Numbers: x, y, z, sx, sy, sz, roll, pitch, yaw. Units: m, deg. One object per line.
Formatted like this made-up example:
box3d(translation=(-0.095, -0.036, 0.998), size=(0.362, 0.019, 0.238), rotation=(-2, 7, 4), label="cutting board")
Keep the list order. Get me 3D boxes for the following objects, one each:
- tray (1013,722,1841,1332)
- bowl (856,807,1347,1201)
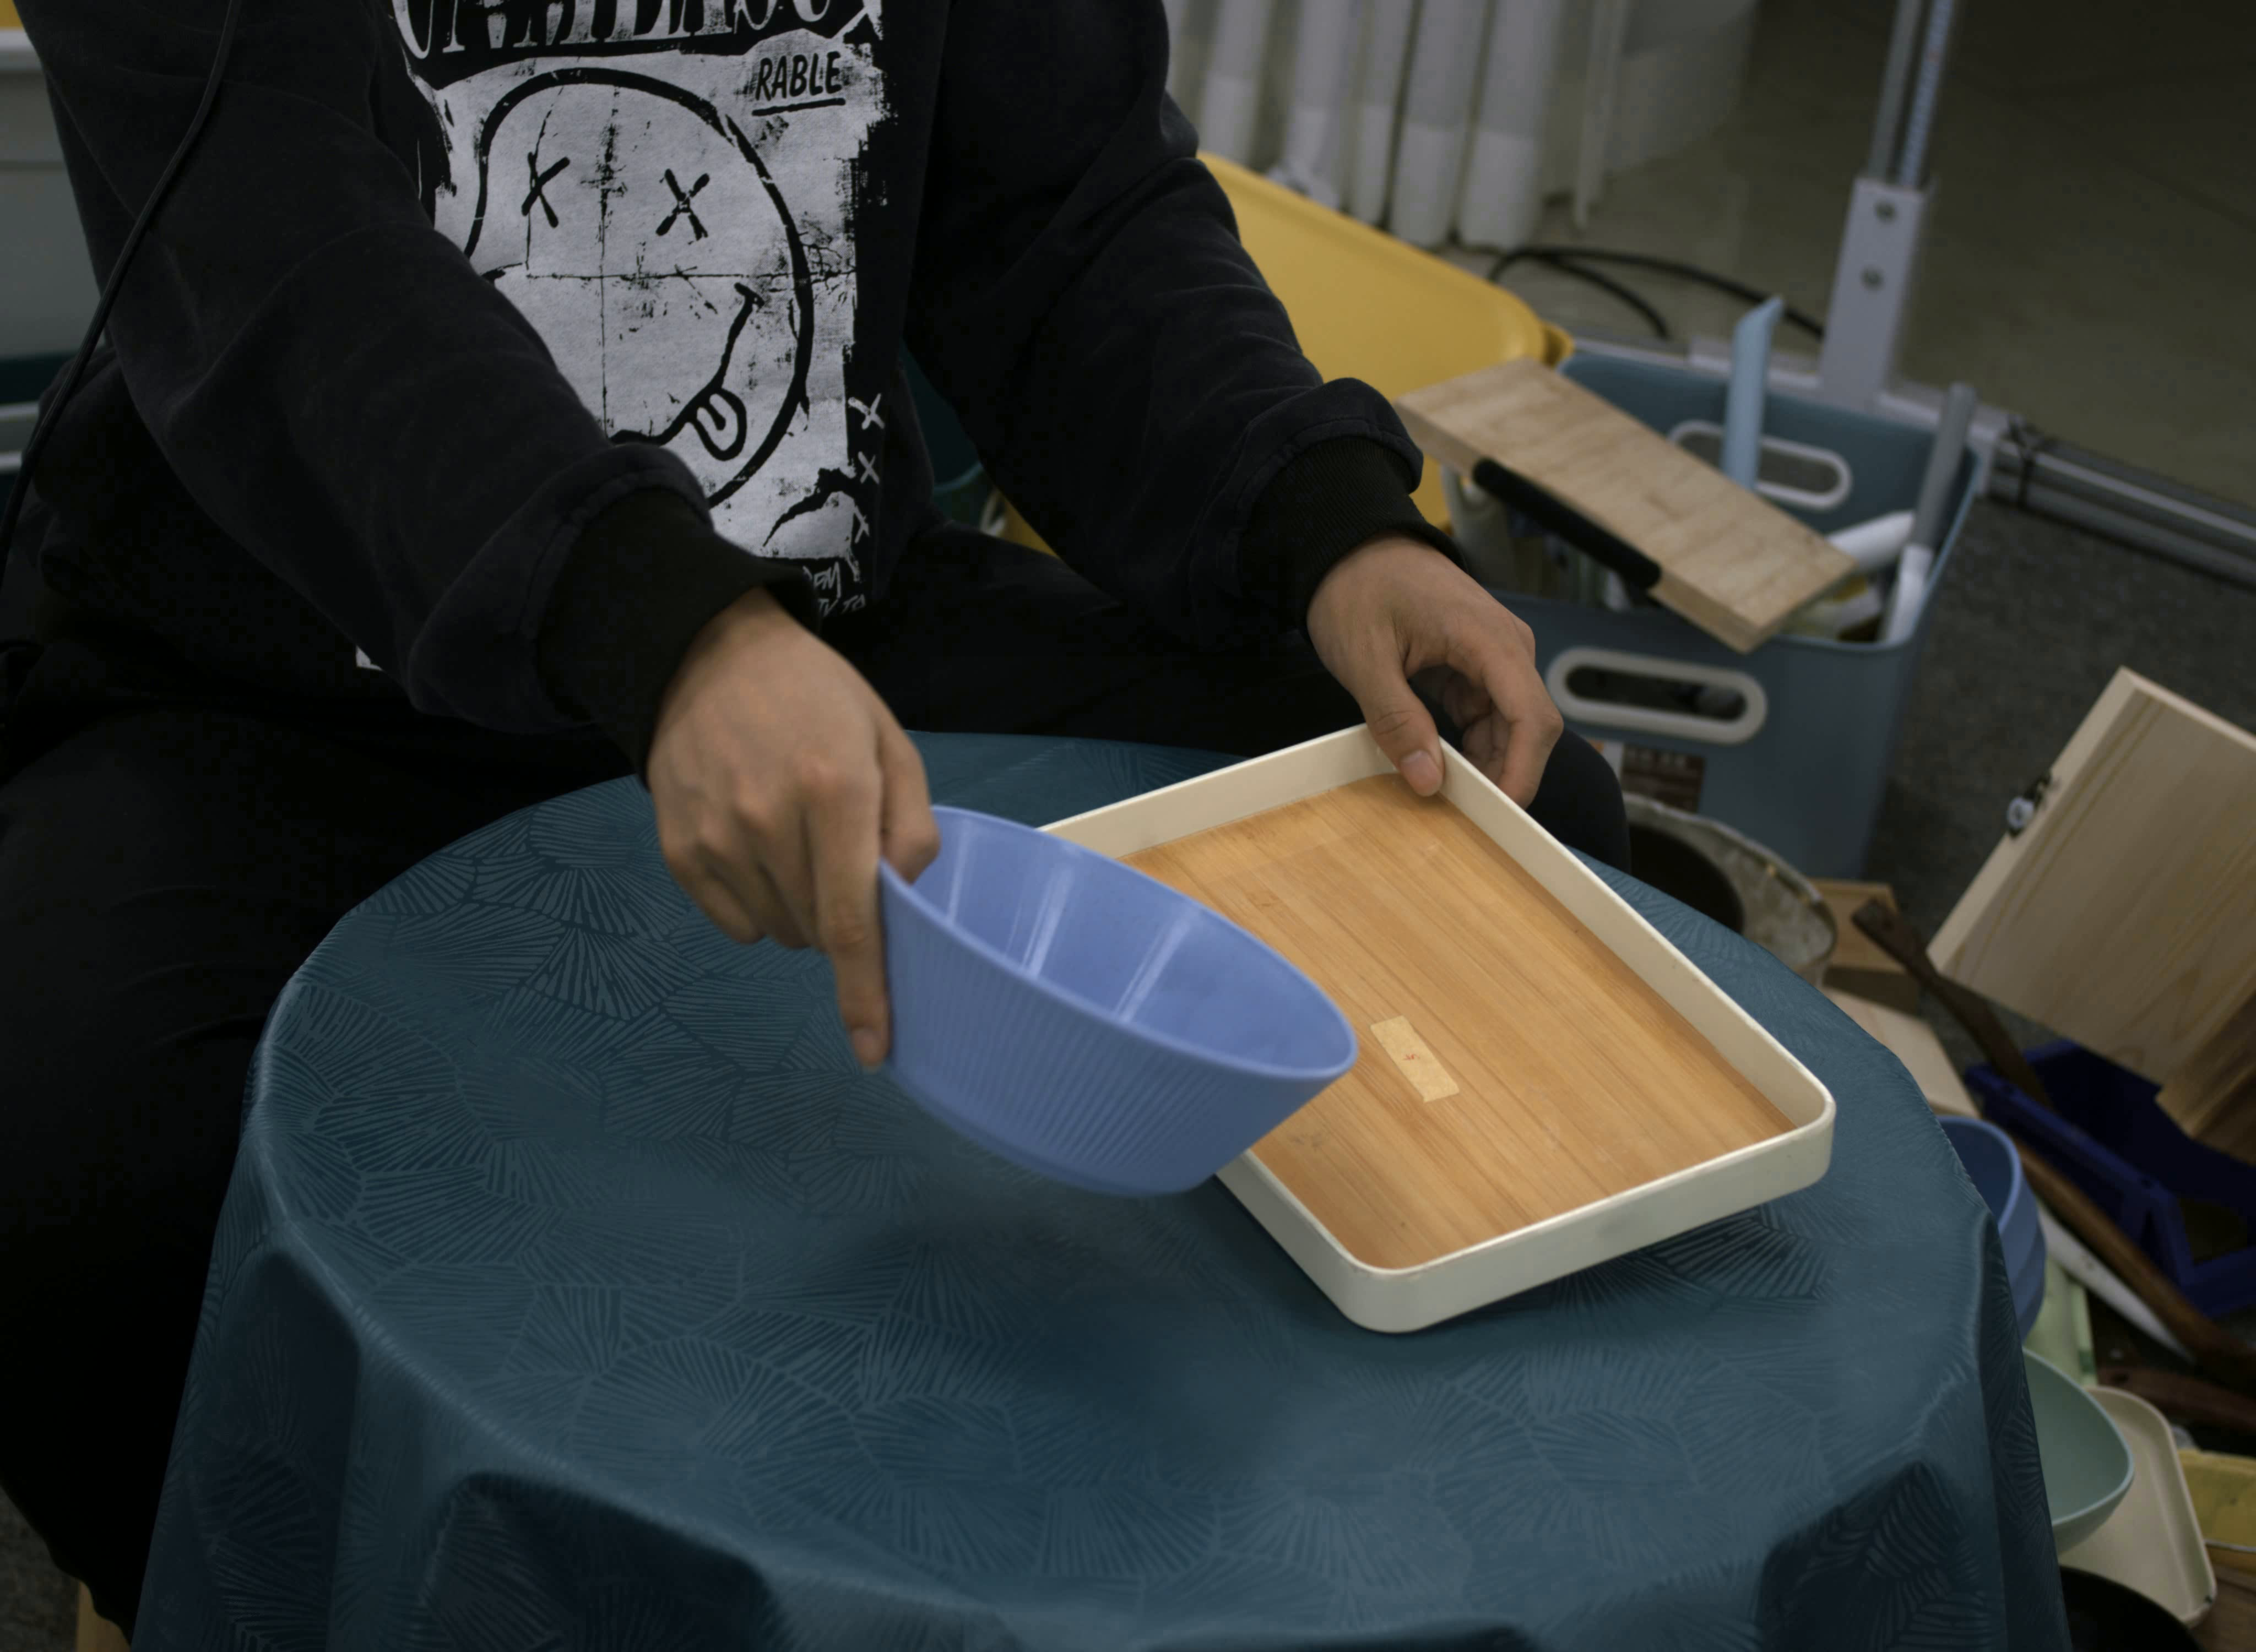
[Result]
box3d(translation=(0.094, 0.064, 1.869), size=(0.190, 0.027, 0.303), rotation=(-17, 36, -22), label="tray")
box3d(translation=(-0.021, 0.064, 1.724), size=(0.175, 0.070, 0.177), rotation=(25, 14, -7), label="bowl")
